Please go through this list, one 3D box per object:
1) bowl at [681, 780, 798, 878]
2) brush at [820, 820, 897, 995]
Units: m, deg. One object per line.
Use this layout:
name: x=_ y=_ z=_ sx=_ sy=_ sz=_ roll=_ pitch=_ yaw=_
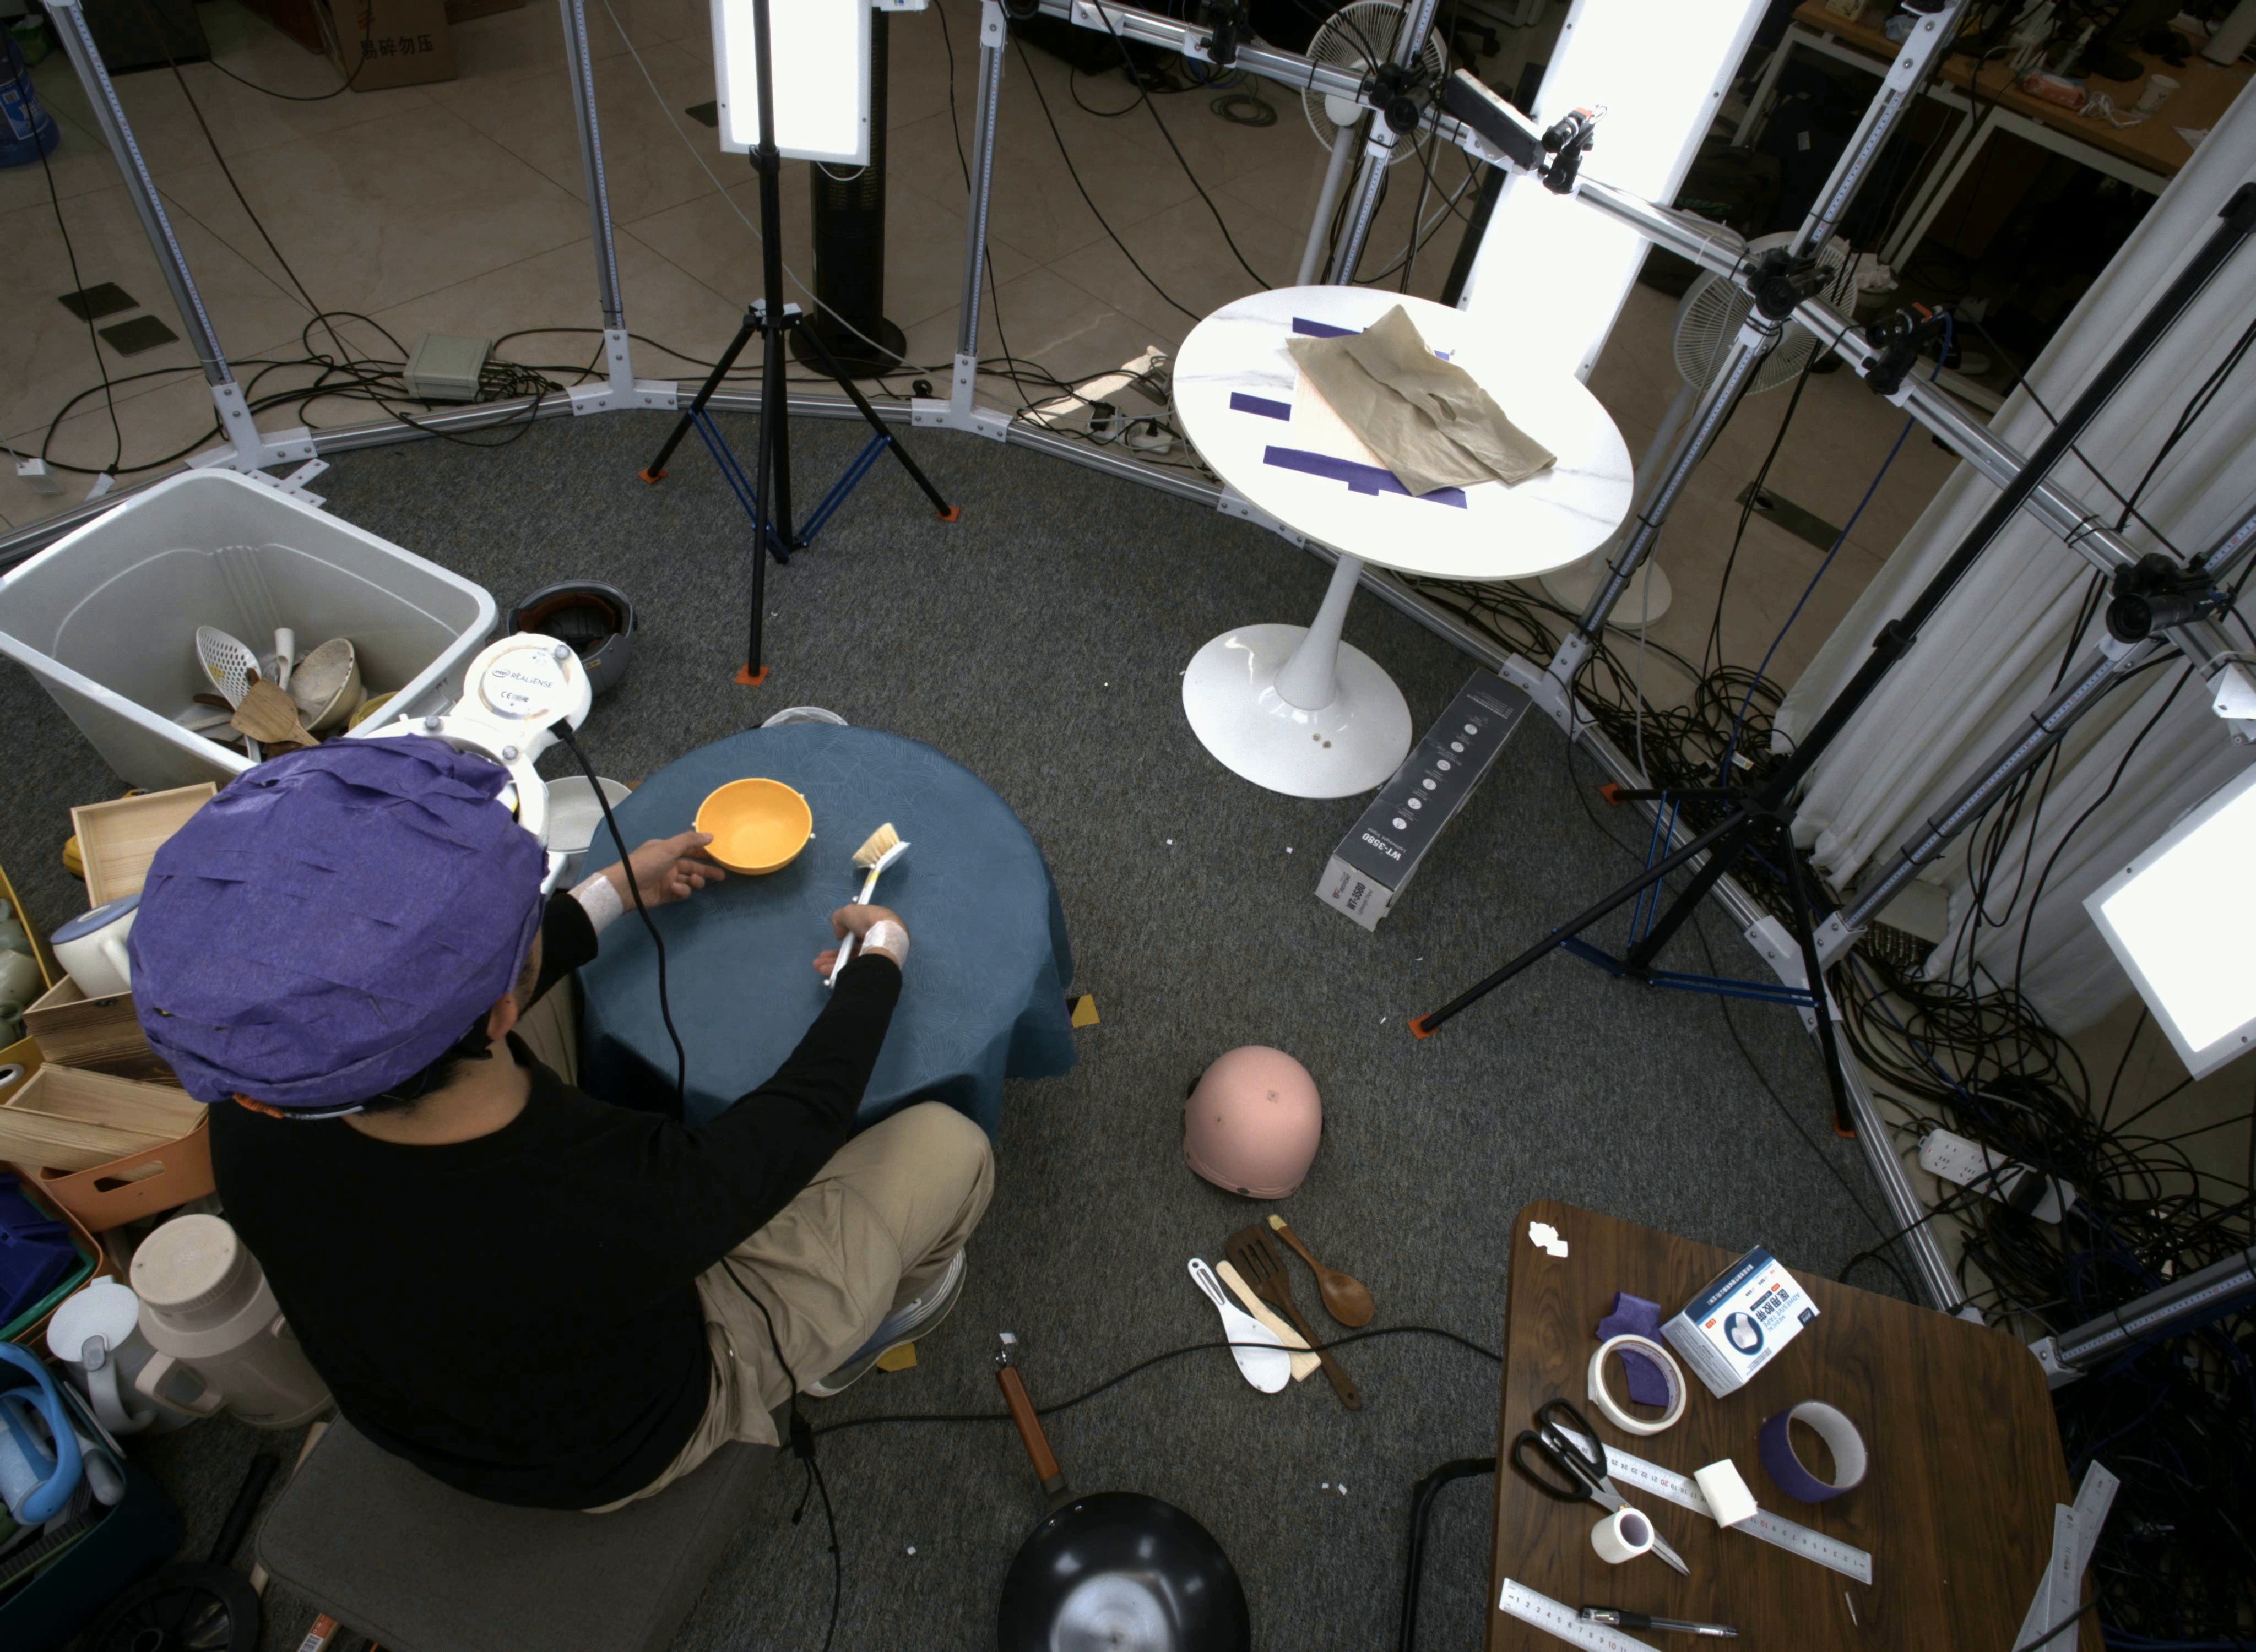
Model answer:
bowl: x=-0.493 y=0.014 z=1.652 sx=0.145 sy=0.061 sz=0.143 roll=7 pitch=53 yaw=-7
brush: x=-0.352 y=0.092 z=1.601 sx=0.056 sy=0.069 sz=0.262 roll=27 pitch=43 yaw=-11
